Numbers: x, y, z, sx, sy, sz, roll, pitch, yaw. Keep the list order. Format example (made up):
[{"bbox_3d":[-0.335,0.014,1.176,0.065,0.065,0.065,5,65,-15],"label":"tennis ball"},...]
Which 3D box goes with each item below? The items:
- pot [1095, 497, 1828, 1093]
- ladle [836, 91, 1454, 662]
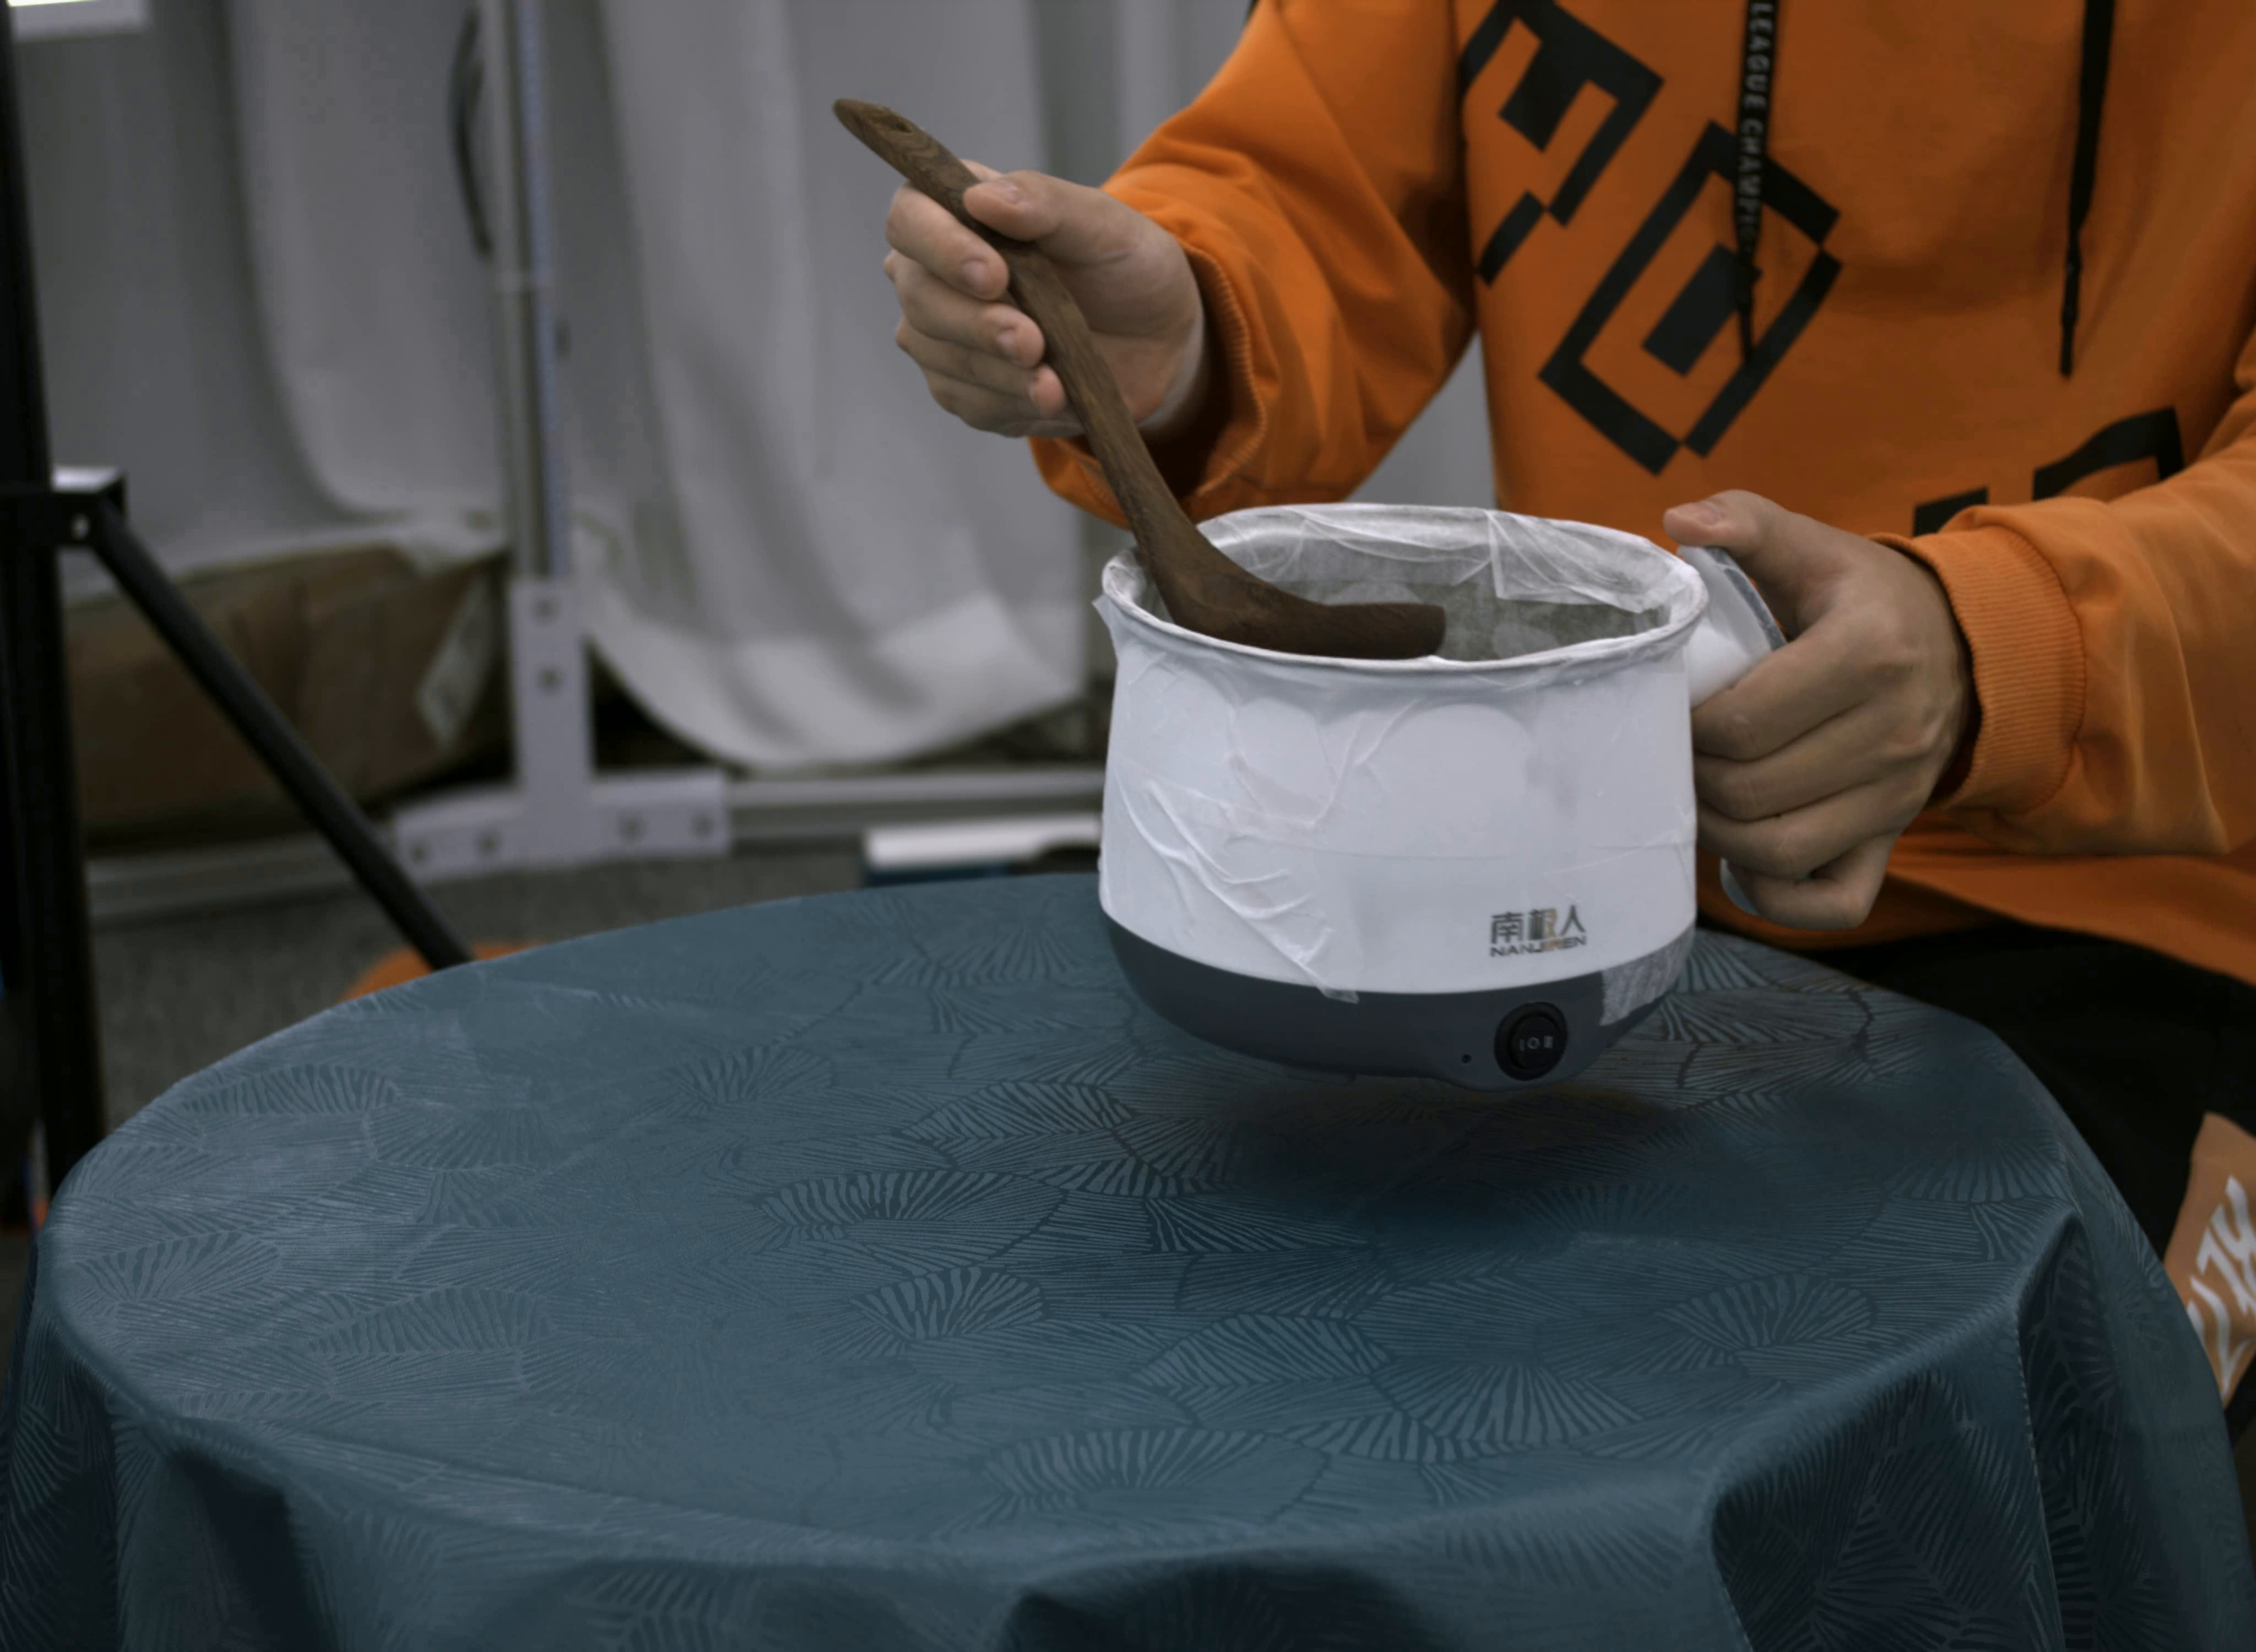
[{"bbox_3d":[0.103,-0.015,1.573,0.229,0.136,0.182,-7,20,-23],"label":"pot"},{"bbox_3d":[0.003,-0.141,1.584,0.074,0.072,0.279,7,44,-52],"label":"ladle"}]
